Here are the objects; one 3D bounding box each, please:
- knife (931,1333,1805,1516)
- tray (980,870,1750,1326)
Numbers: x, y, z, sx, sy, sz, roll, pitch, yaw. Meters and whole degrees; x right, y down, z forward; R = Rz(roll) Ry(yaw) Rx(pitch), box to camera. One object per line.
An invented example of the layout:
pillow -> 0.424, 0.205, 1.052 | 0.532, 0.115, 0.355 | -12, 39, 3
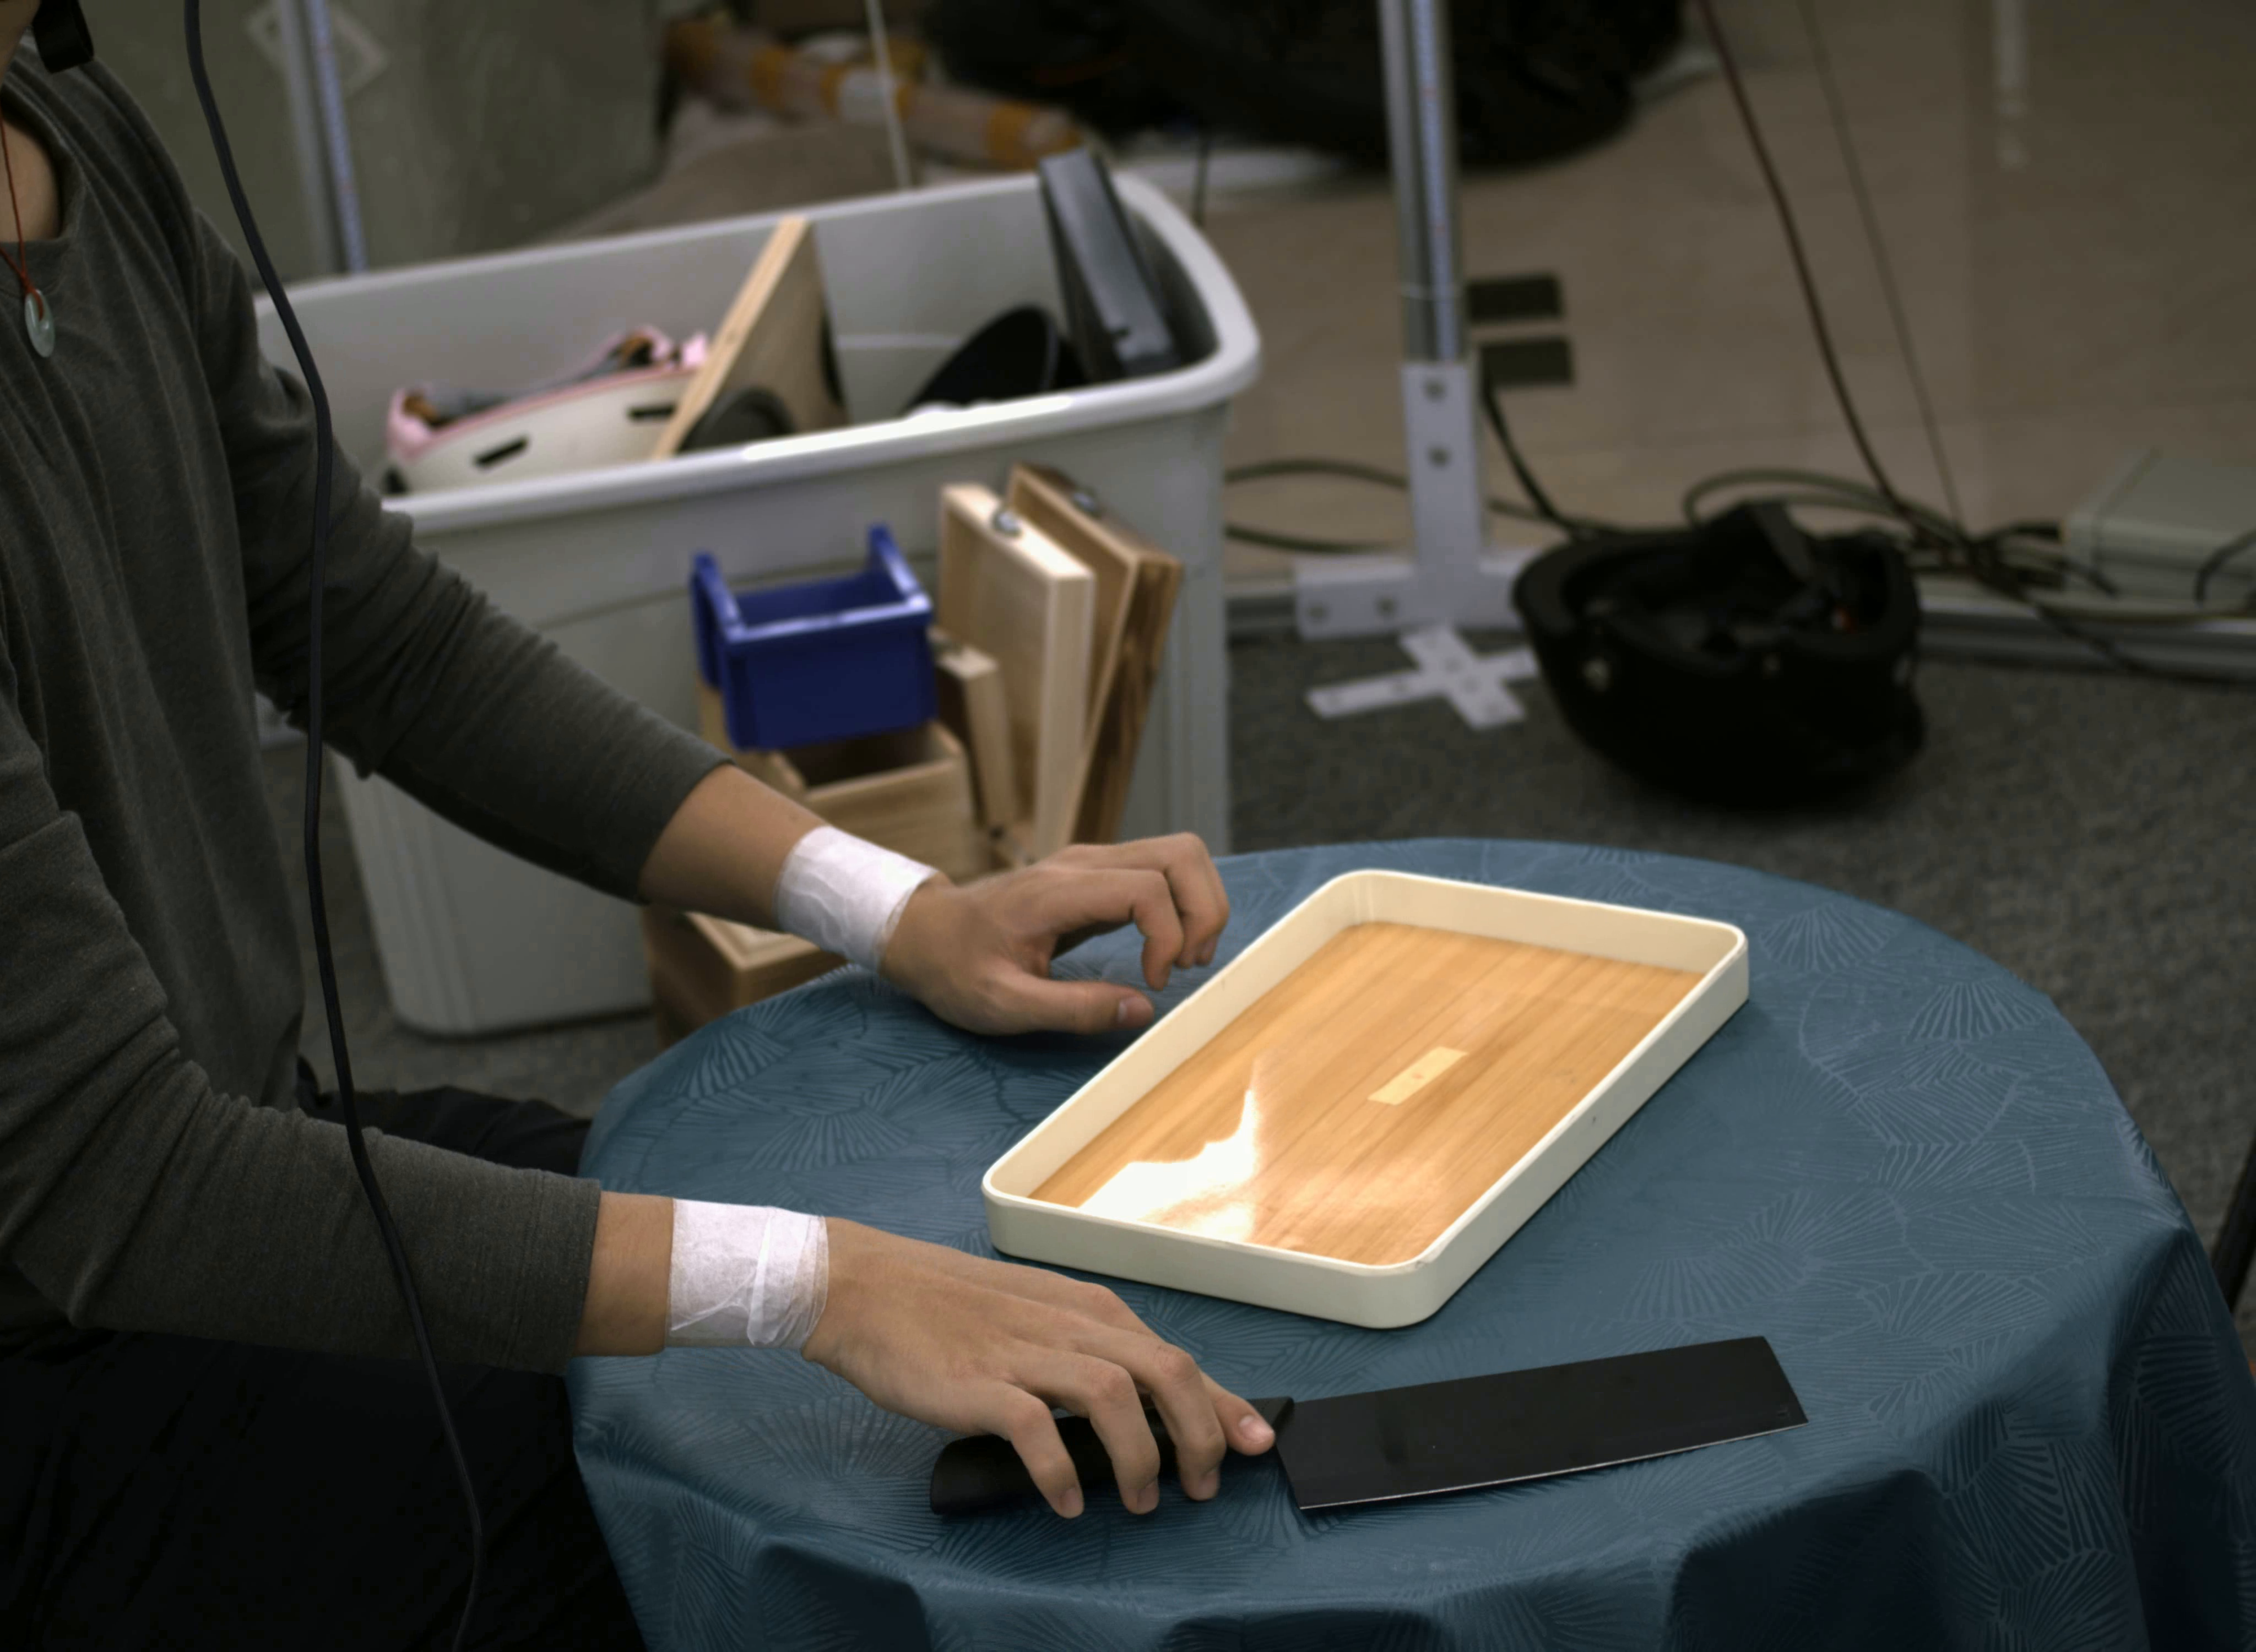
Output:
knife -> 0.082, 0.211, 1.960 | 0.302, 0.021, 0.080 | -6, 26, -3
tray -> 0.095, 0.099, 2.181 | 0.191, 0.028, 0.297 | 9, 29, 31
